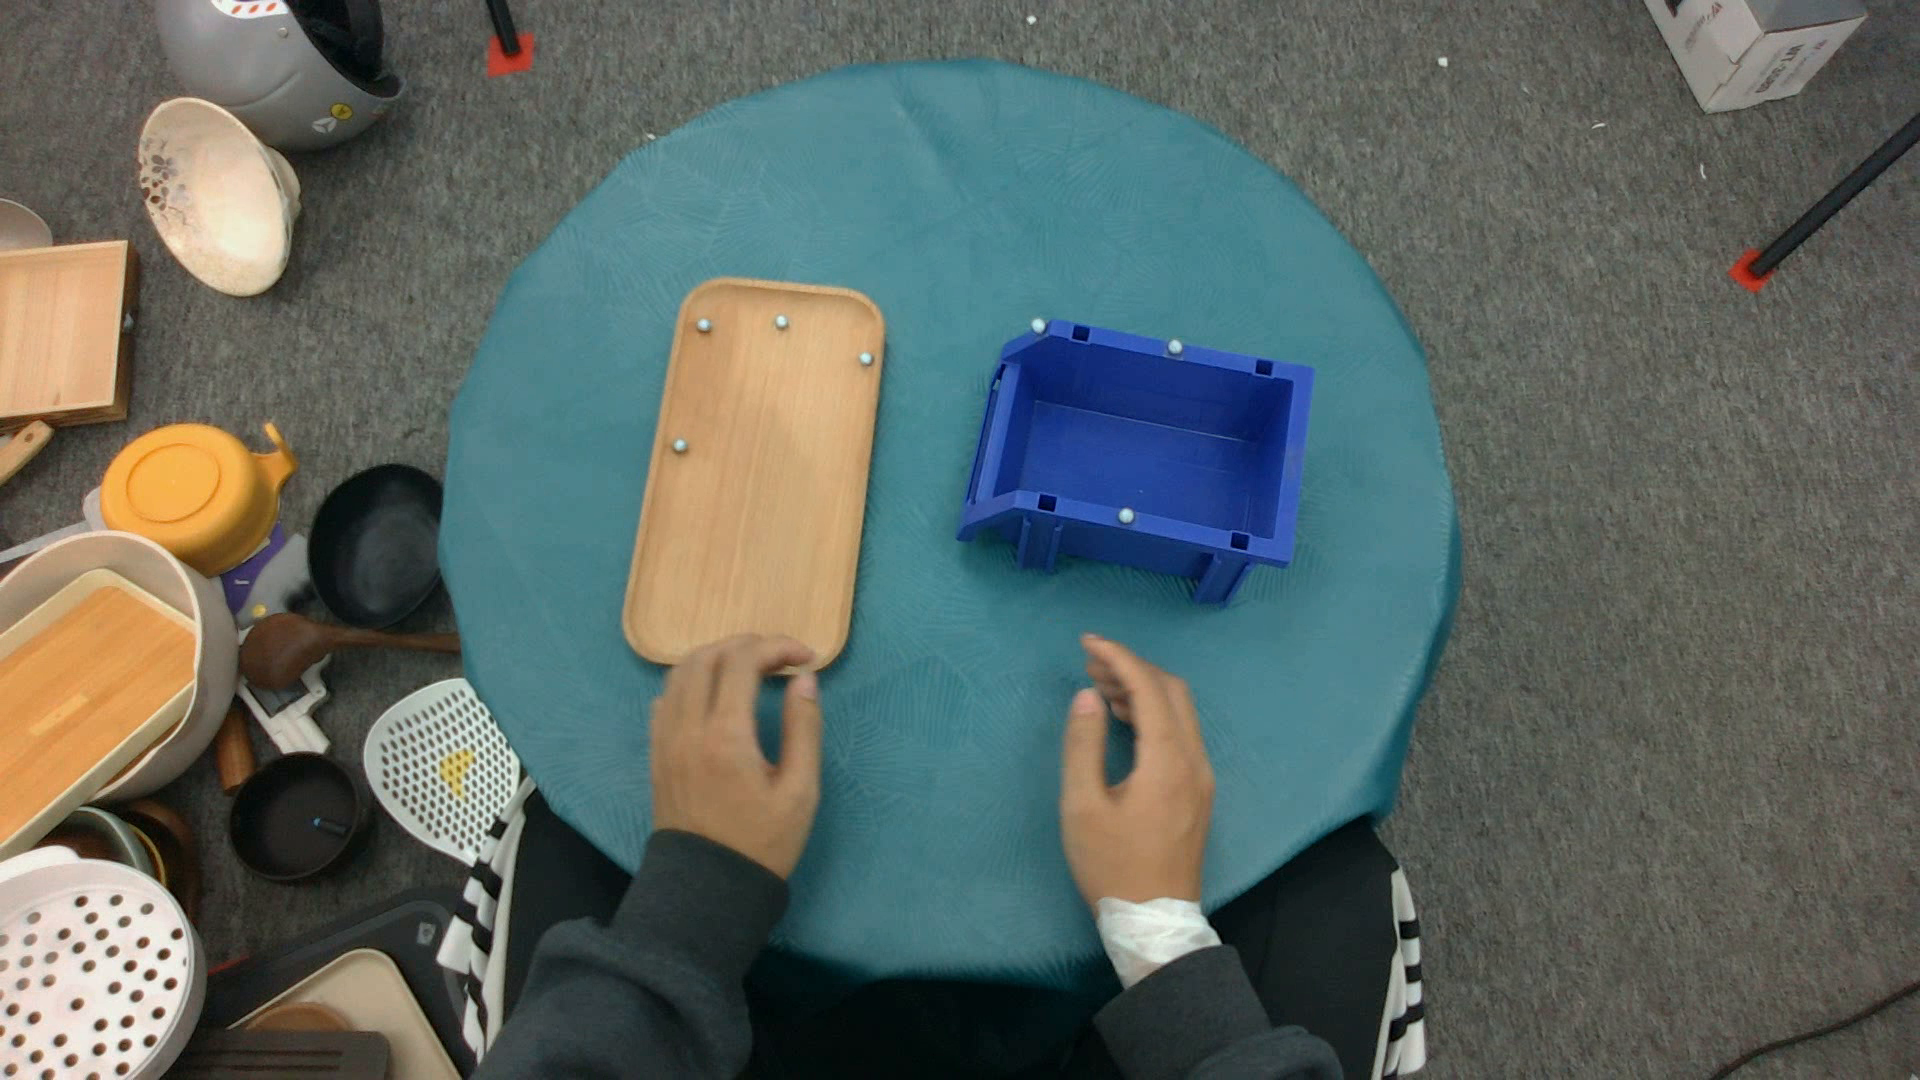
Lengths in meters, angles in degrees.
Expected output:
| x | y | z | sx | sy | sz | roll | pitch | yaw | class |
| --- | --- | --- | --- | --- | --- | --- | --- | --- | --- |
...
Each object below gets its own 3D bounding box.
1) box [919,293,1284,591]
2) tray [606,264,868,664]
| x | y | z | sx | sy | sz | roll | pitch | yaw | class |
| --- | --- | --- | --- | --- | --- | --- | --- | --- | --- |
| 0.078 | -0.055 | 0.785 | 0.179 | 0.081 | 0.125 | 14 | 68 | -1 | box |
| -0.126 | -0.050 | 0.806 | 0.130 | 0.023 | 0.251 | 4 | 68 | 2 | tray |
